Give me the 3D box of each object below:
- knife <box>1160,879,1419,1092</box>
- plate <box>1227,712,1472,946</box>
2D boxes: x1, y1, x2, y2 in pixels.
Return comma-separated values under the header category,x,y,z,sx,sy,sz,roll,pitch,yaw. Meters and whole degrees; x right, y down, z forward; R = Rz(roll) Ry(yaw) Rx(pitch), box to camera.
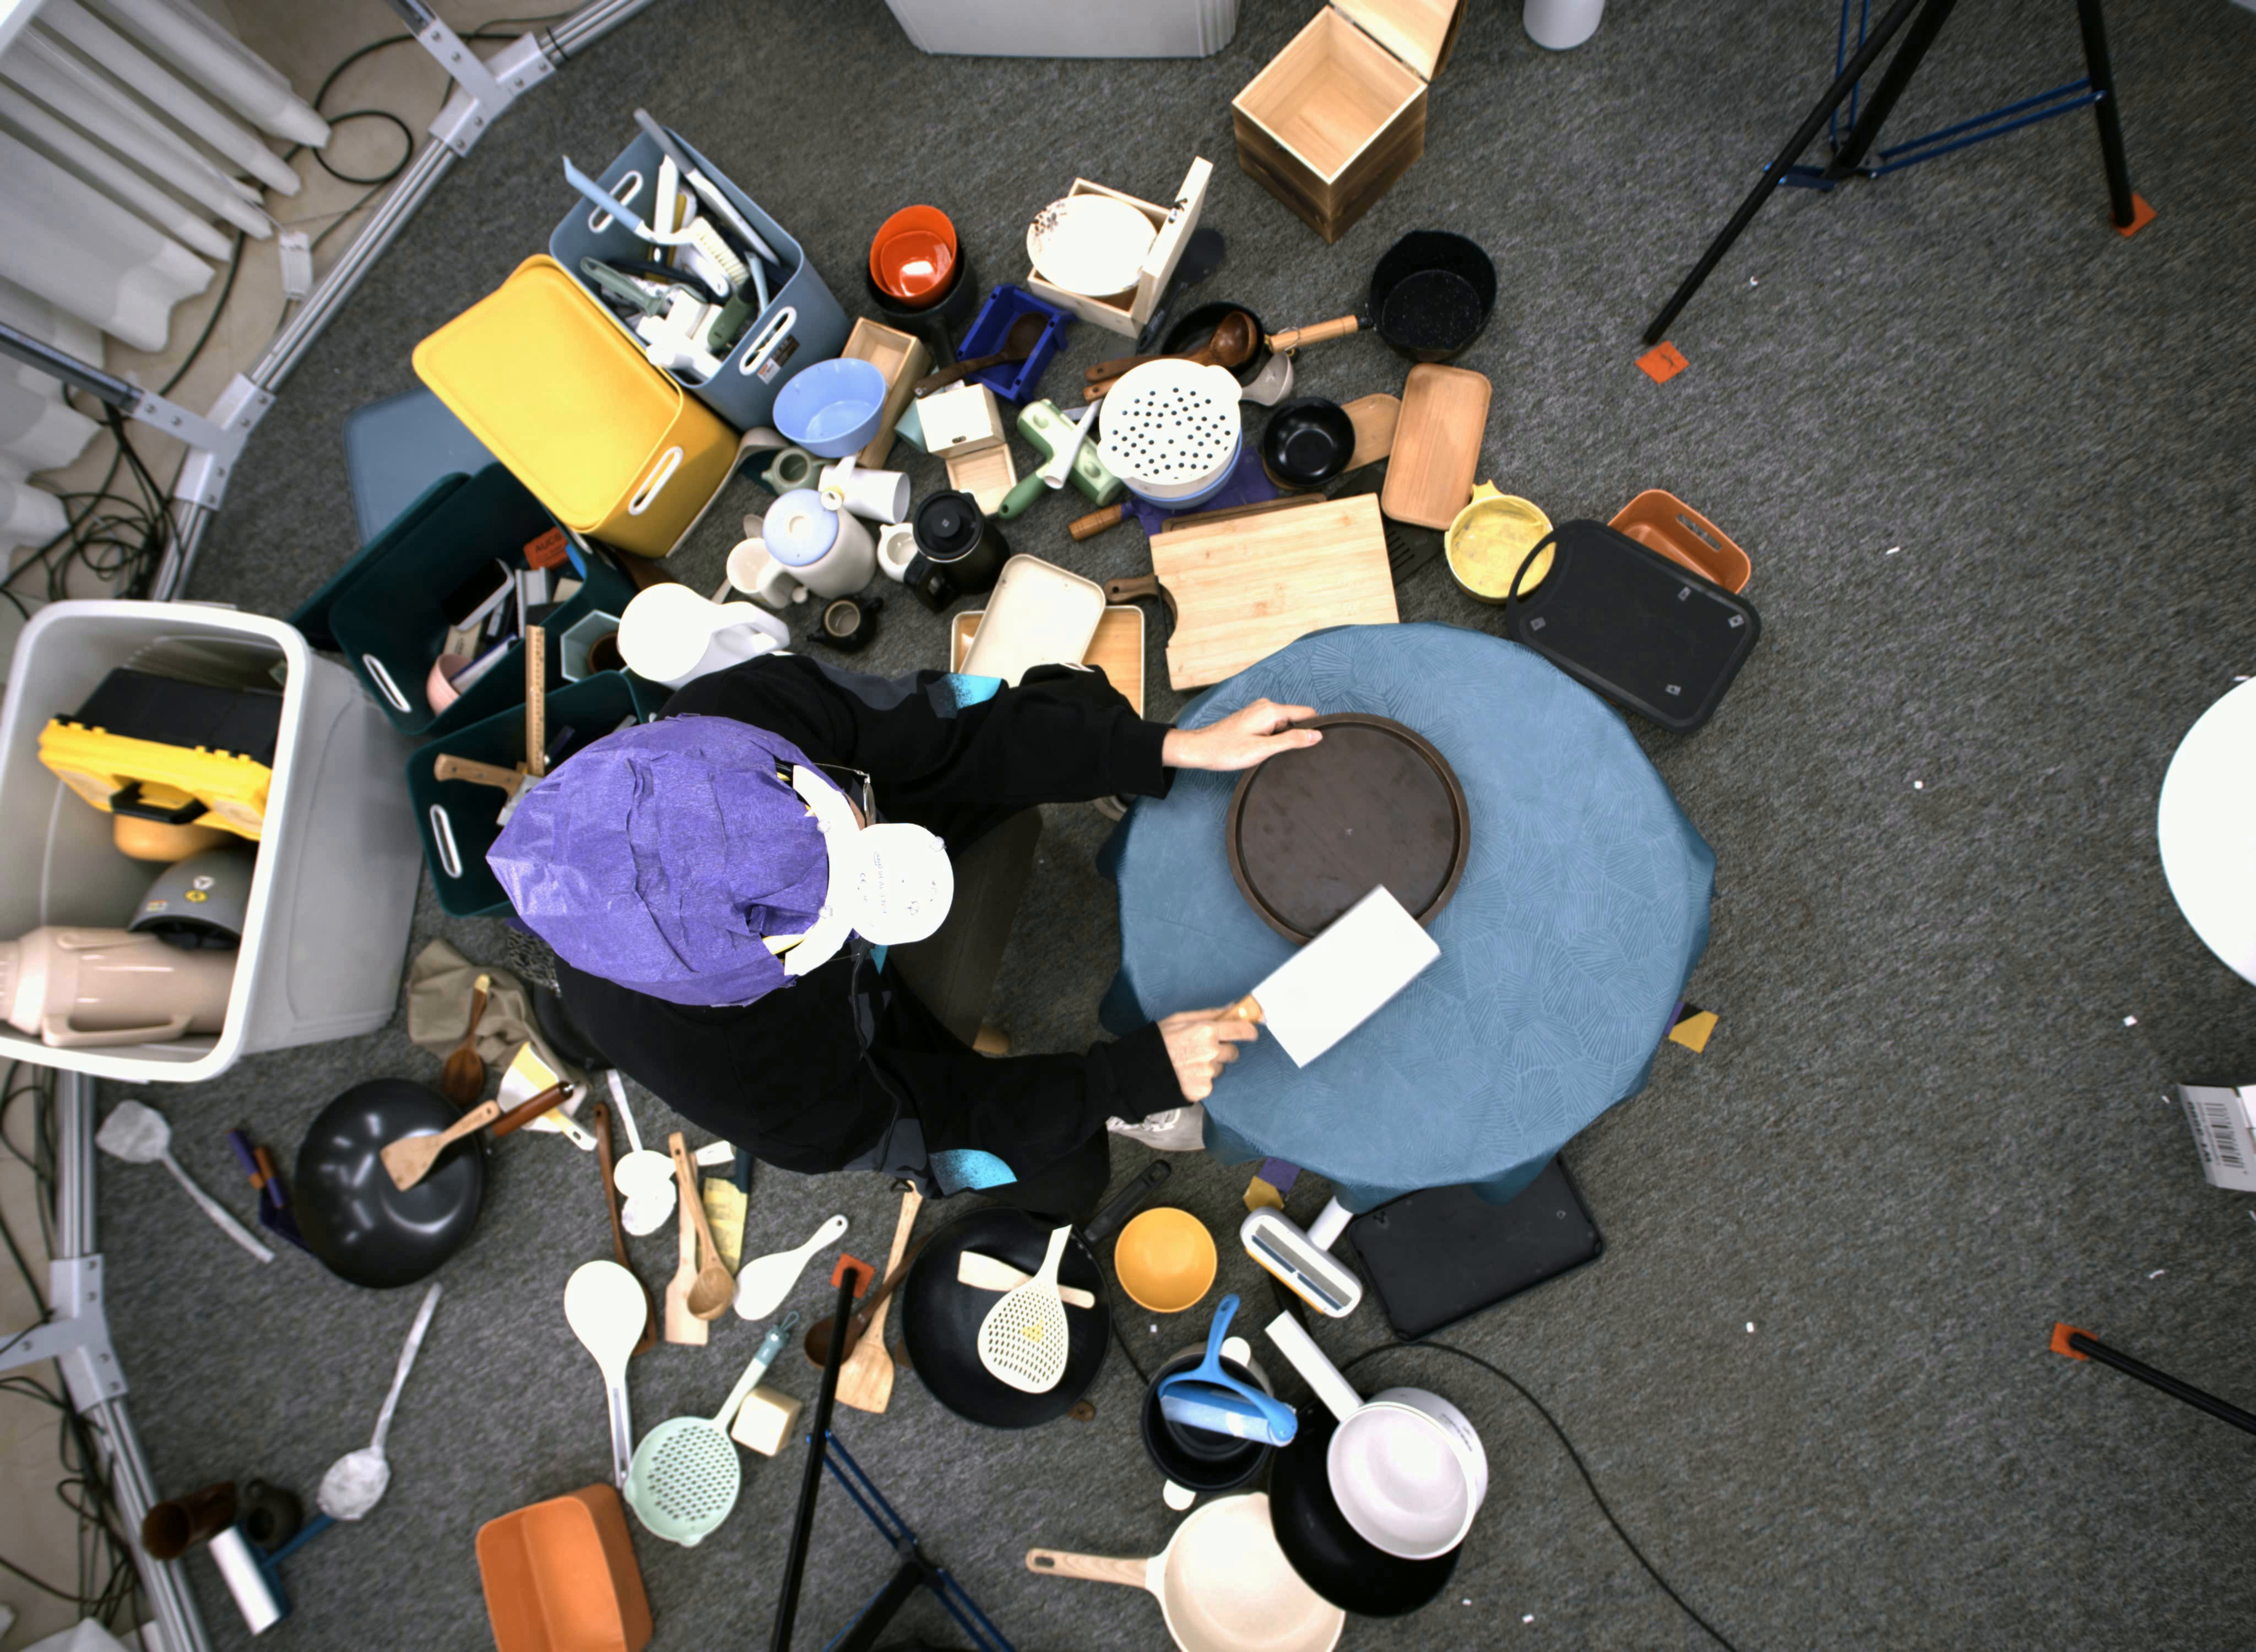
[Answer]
category,x,y,z,sx,sy,sz,roll,pitch,yaw
knife,0.171,0.178,1.410,0.304,0.021,0.092,-40,77,-7
plate,0.228,0.007,1.430,0.255,0.029,0.257,0,101,2
